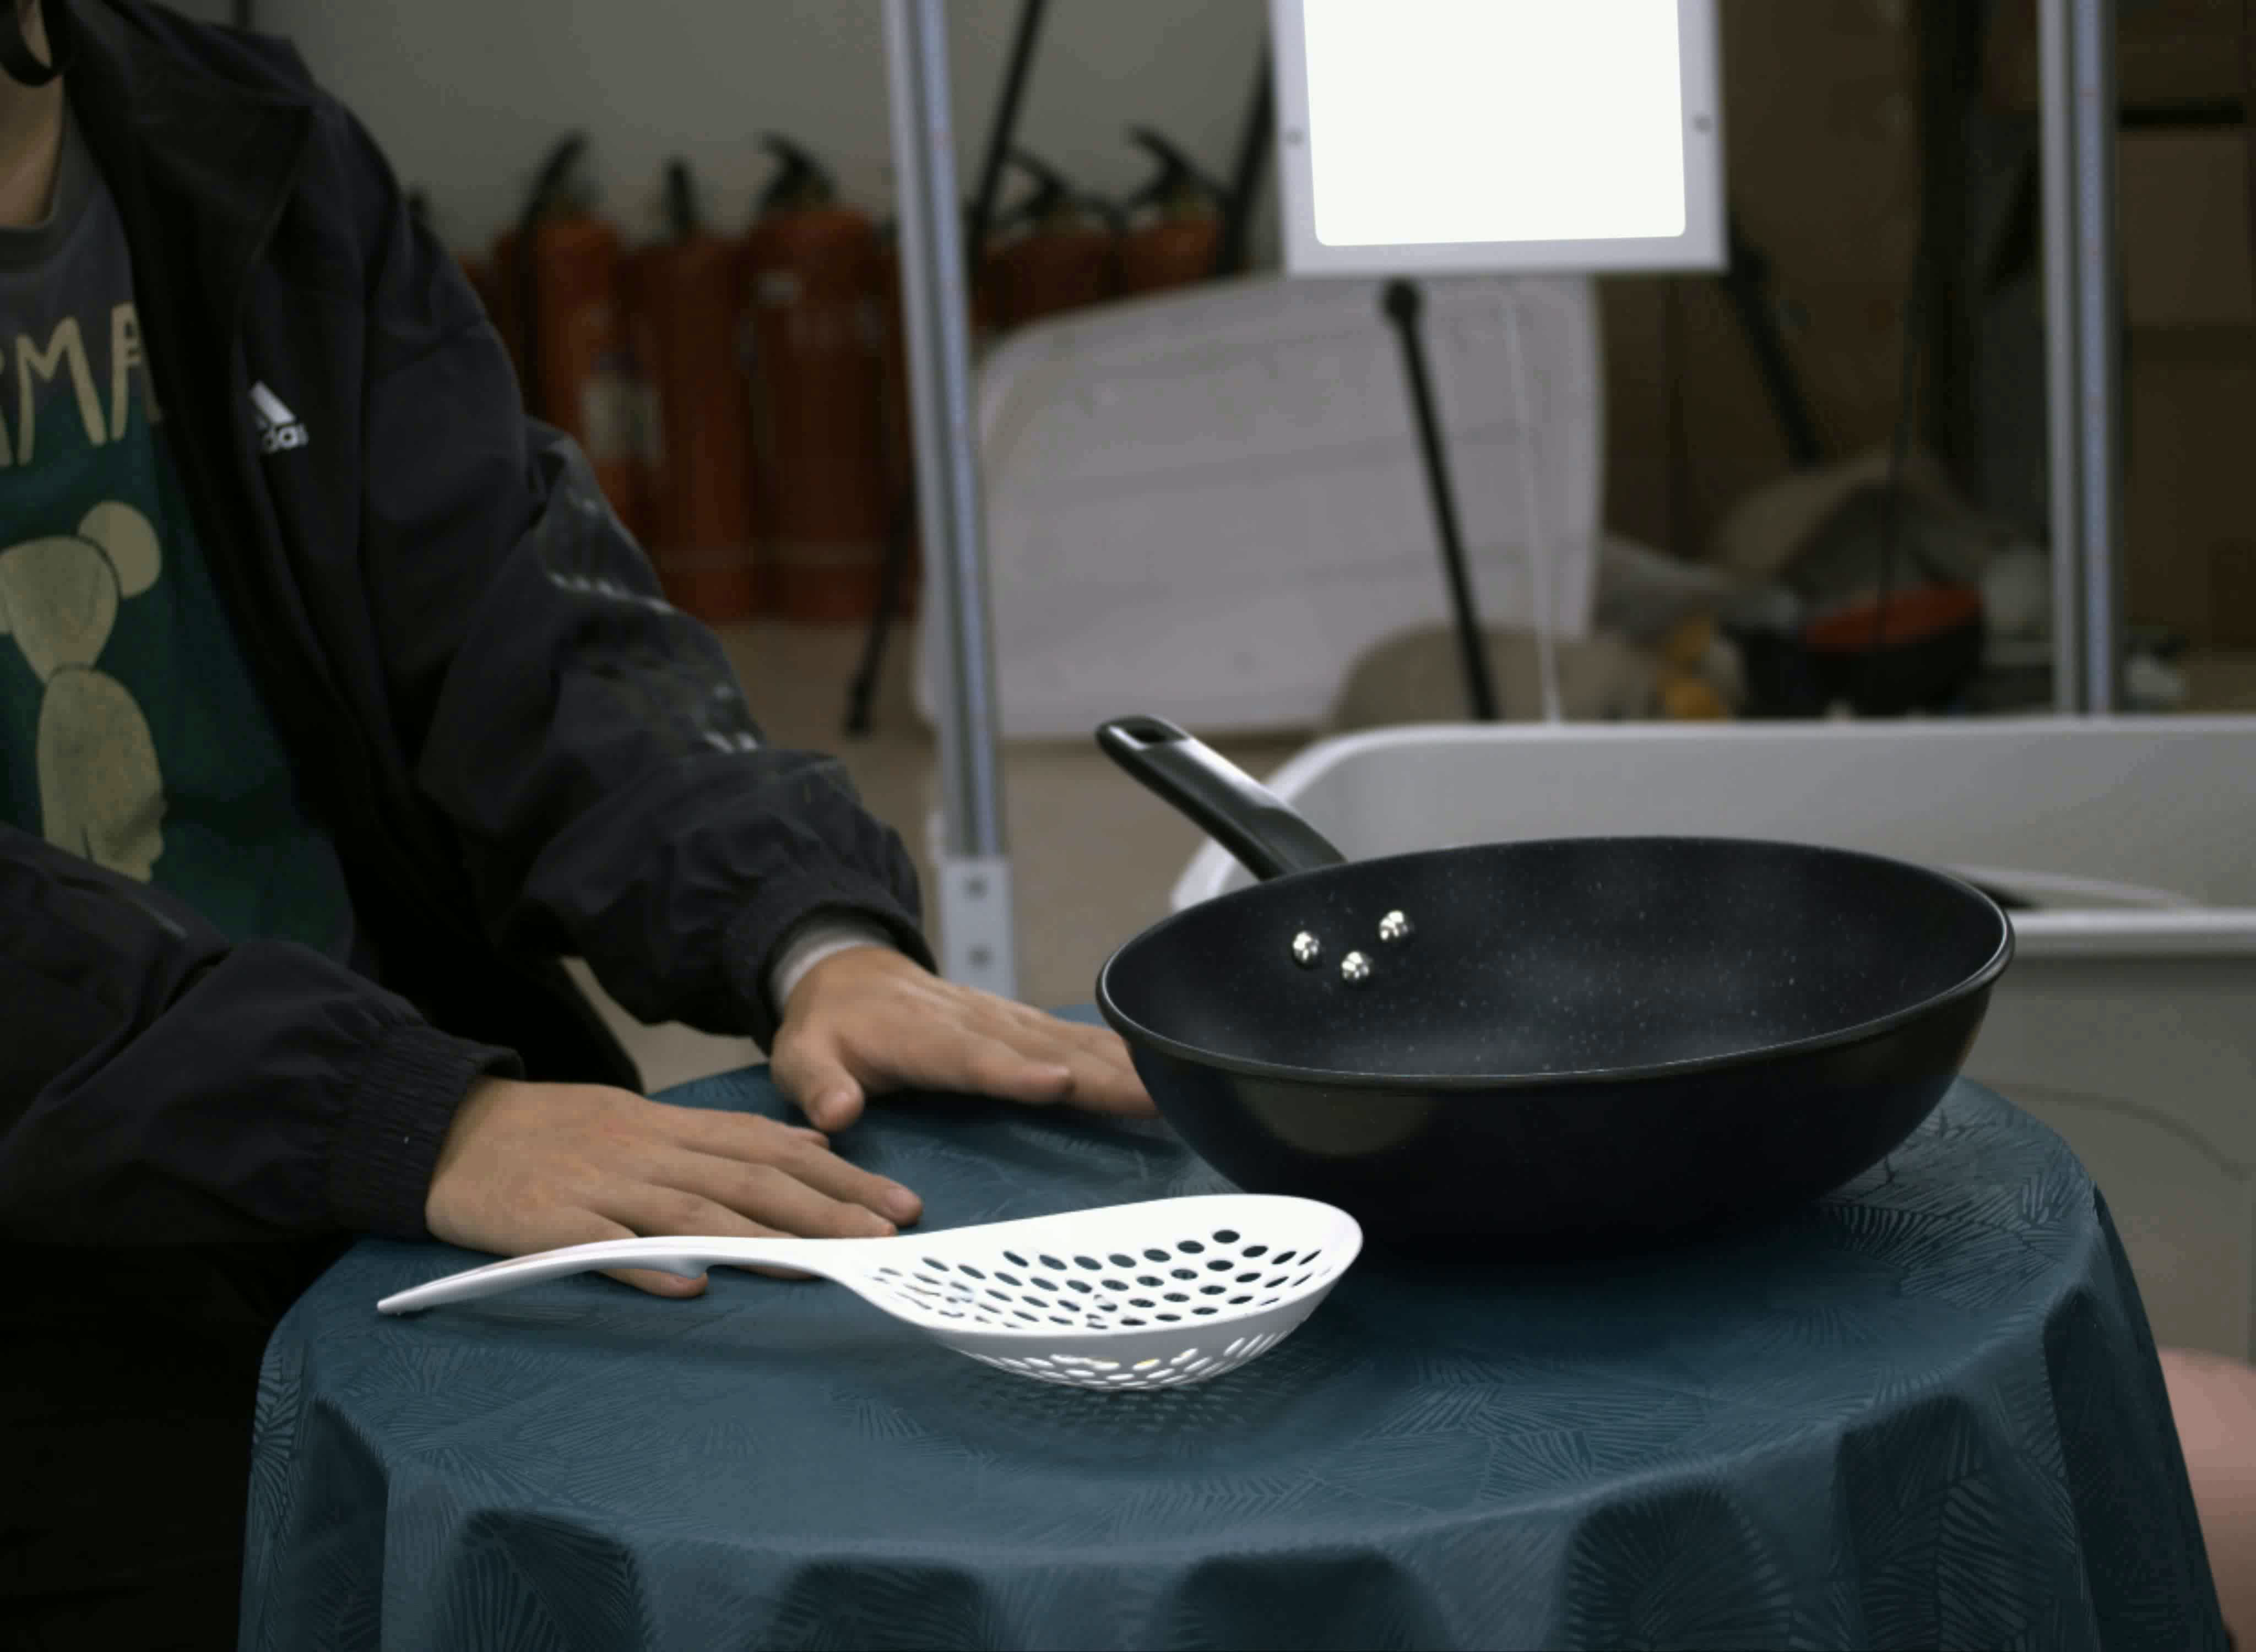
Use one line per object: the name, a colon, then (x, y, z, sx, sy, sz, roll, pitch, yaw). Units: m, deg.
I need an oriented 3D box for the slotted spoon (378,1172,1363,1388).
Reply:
slotted spoon: (-0.090, 0.147, 1.759, 0.354, 0.050, 0.134, 2, 17, 28)

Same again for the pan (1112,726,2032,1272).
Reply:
pan: (0.112, 0.058, 1.915, 0.304, 0.112, 0.485, -10, 15, -25)
